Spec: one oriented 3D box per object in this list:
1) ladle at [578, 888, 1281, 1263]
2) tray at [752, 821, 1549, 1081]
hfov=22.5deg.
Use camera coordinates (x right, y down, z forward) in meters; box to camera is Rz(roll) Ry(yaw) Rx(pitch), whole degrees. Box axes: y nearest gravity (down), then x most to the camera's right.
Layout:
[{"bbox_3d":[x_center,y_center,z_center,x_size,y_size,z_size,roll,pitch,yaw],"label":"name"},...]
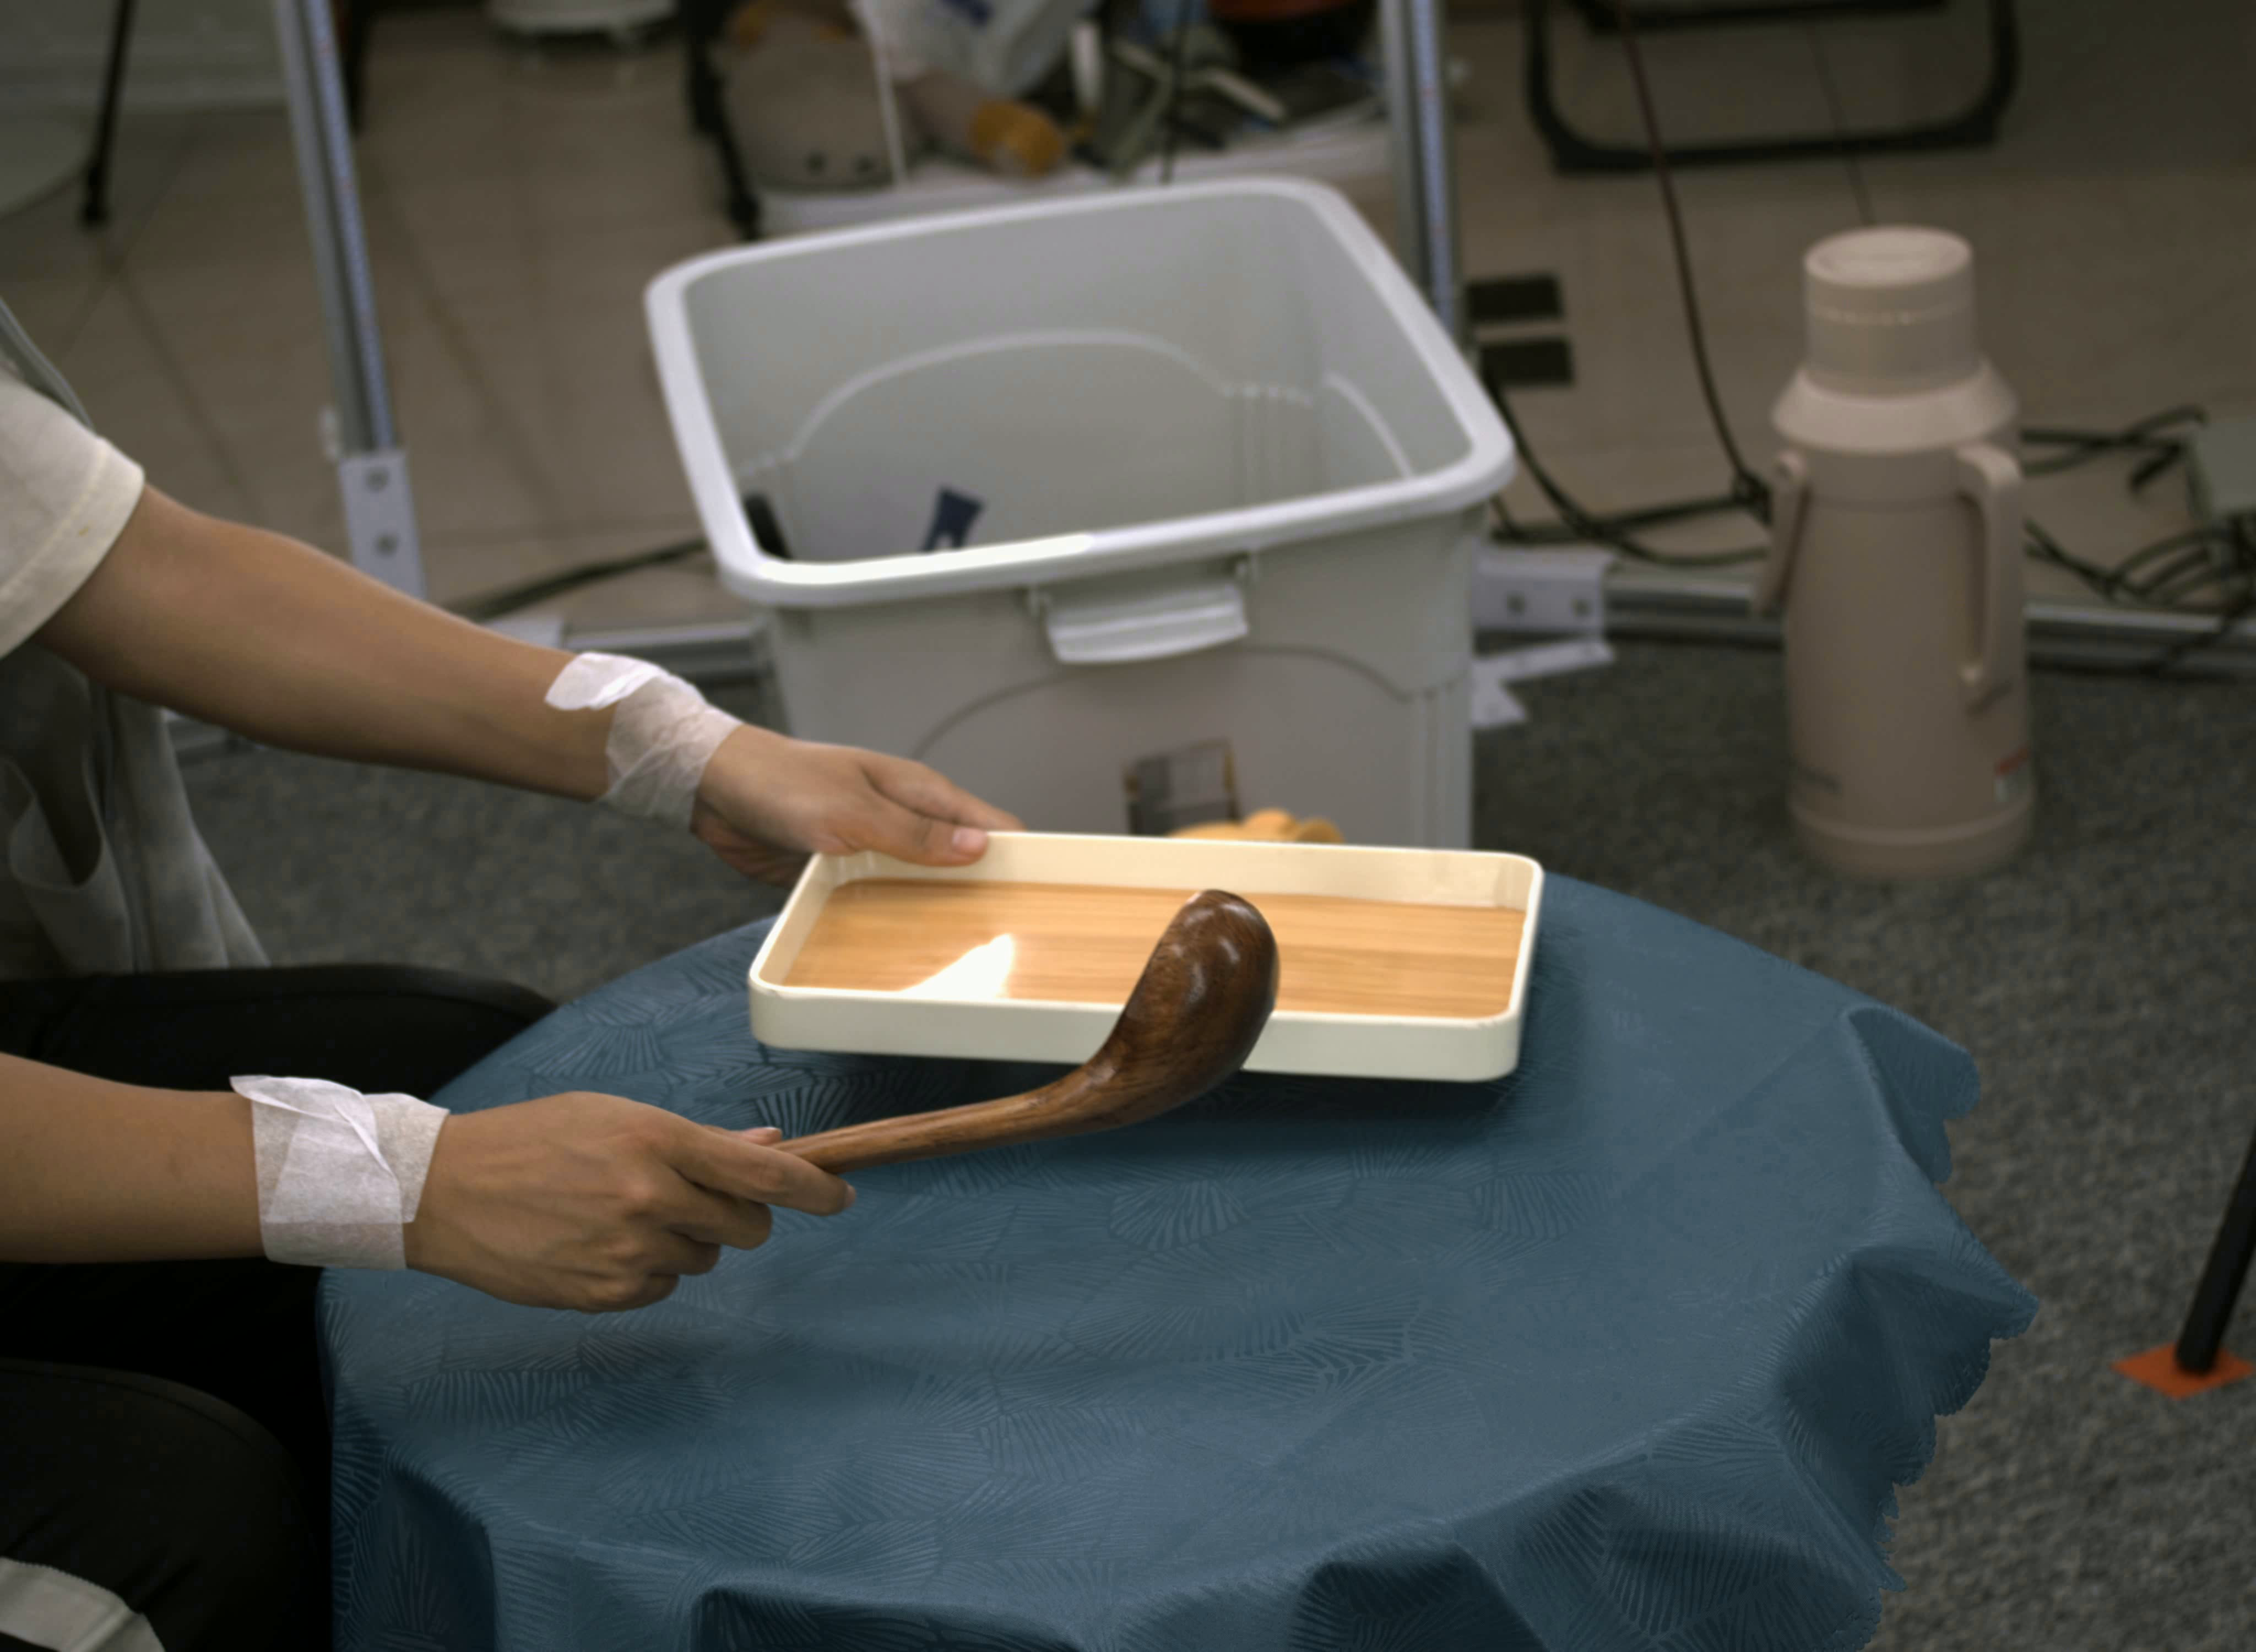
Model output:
[{"bbox_3d":[-0.075,0.089,2.055,0.274,0.083,0.075,-15,60,12],"label":"ladle"},{"bbox_3d":[0.012,0.048,2.253,0.299,0.028,0.189,3,21,7],"label":"tray"}]
